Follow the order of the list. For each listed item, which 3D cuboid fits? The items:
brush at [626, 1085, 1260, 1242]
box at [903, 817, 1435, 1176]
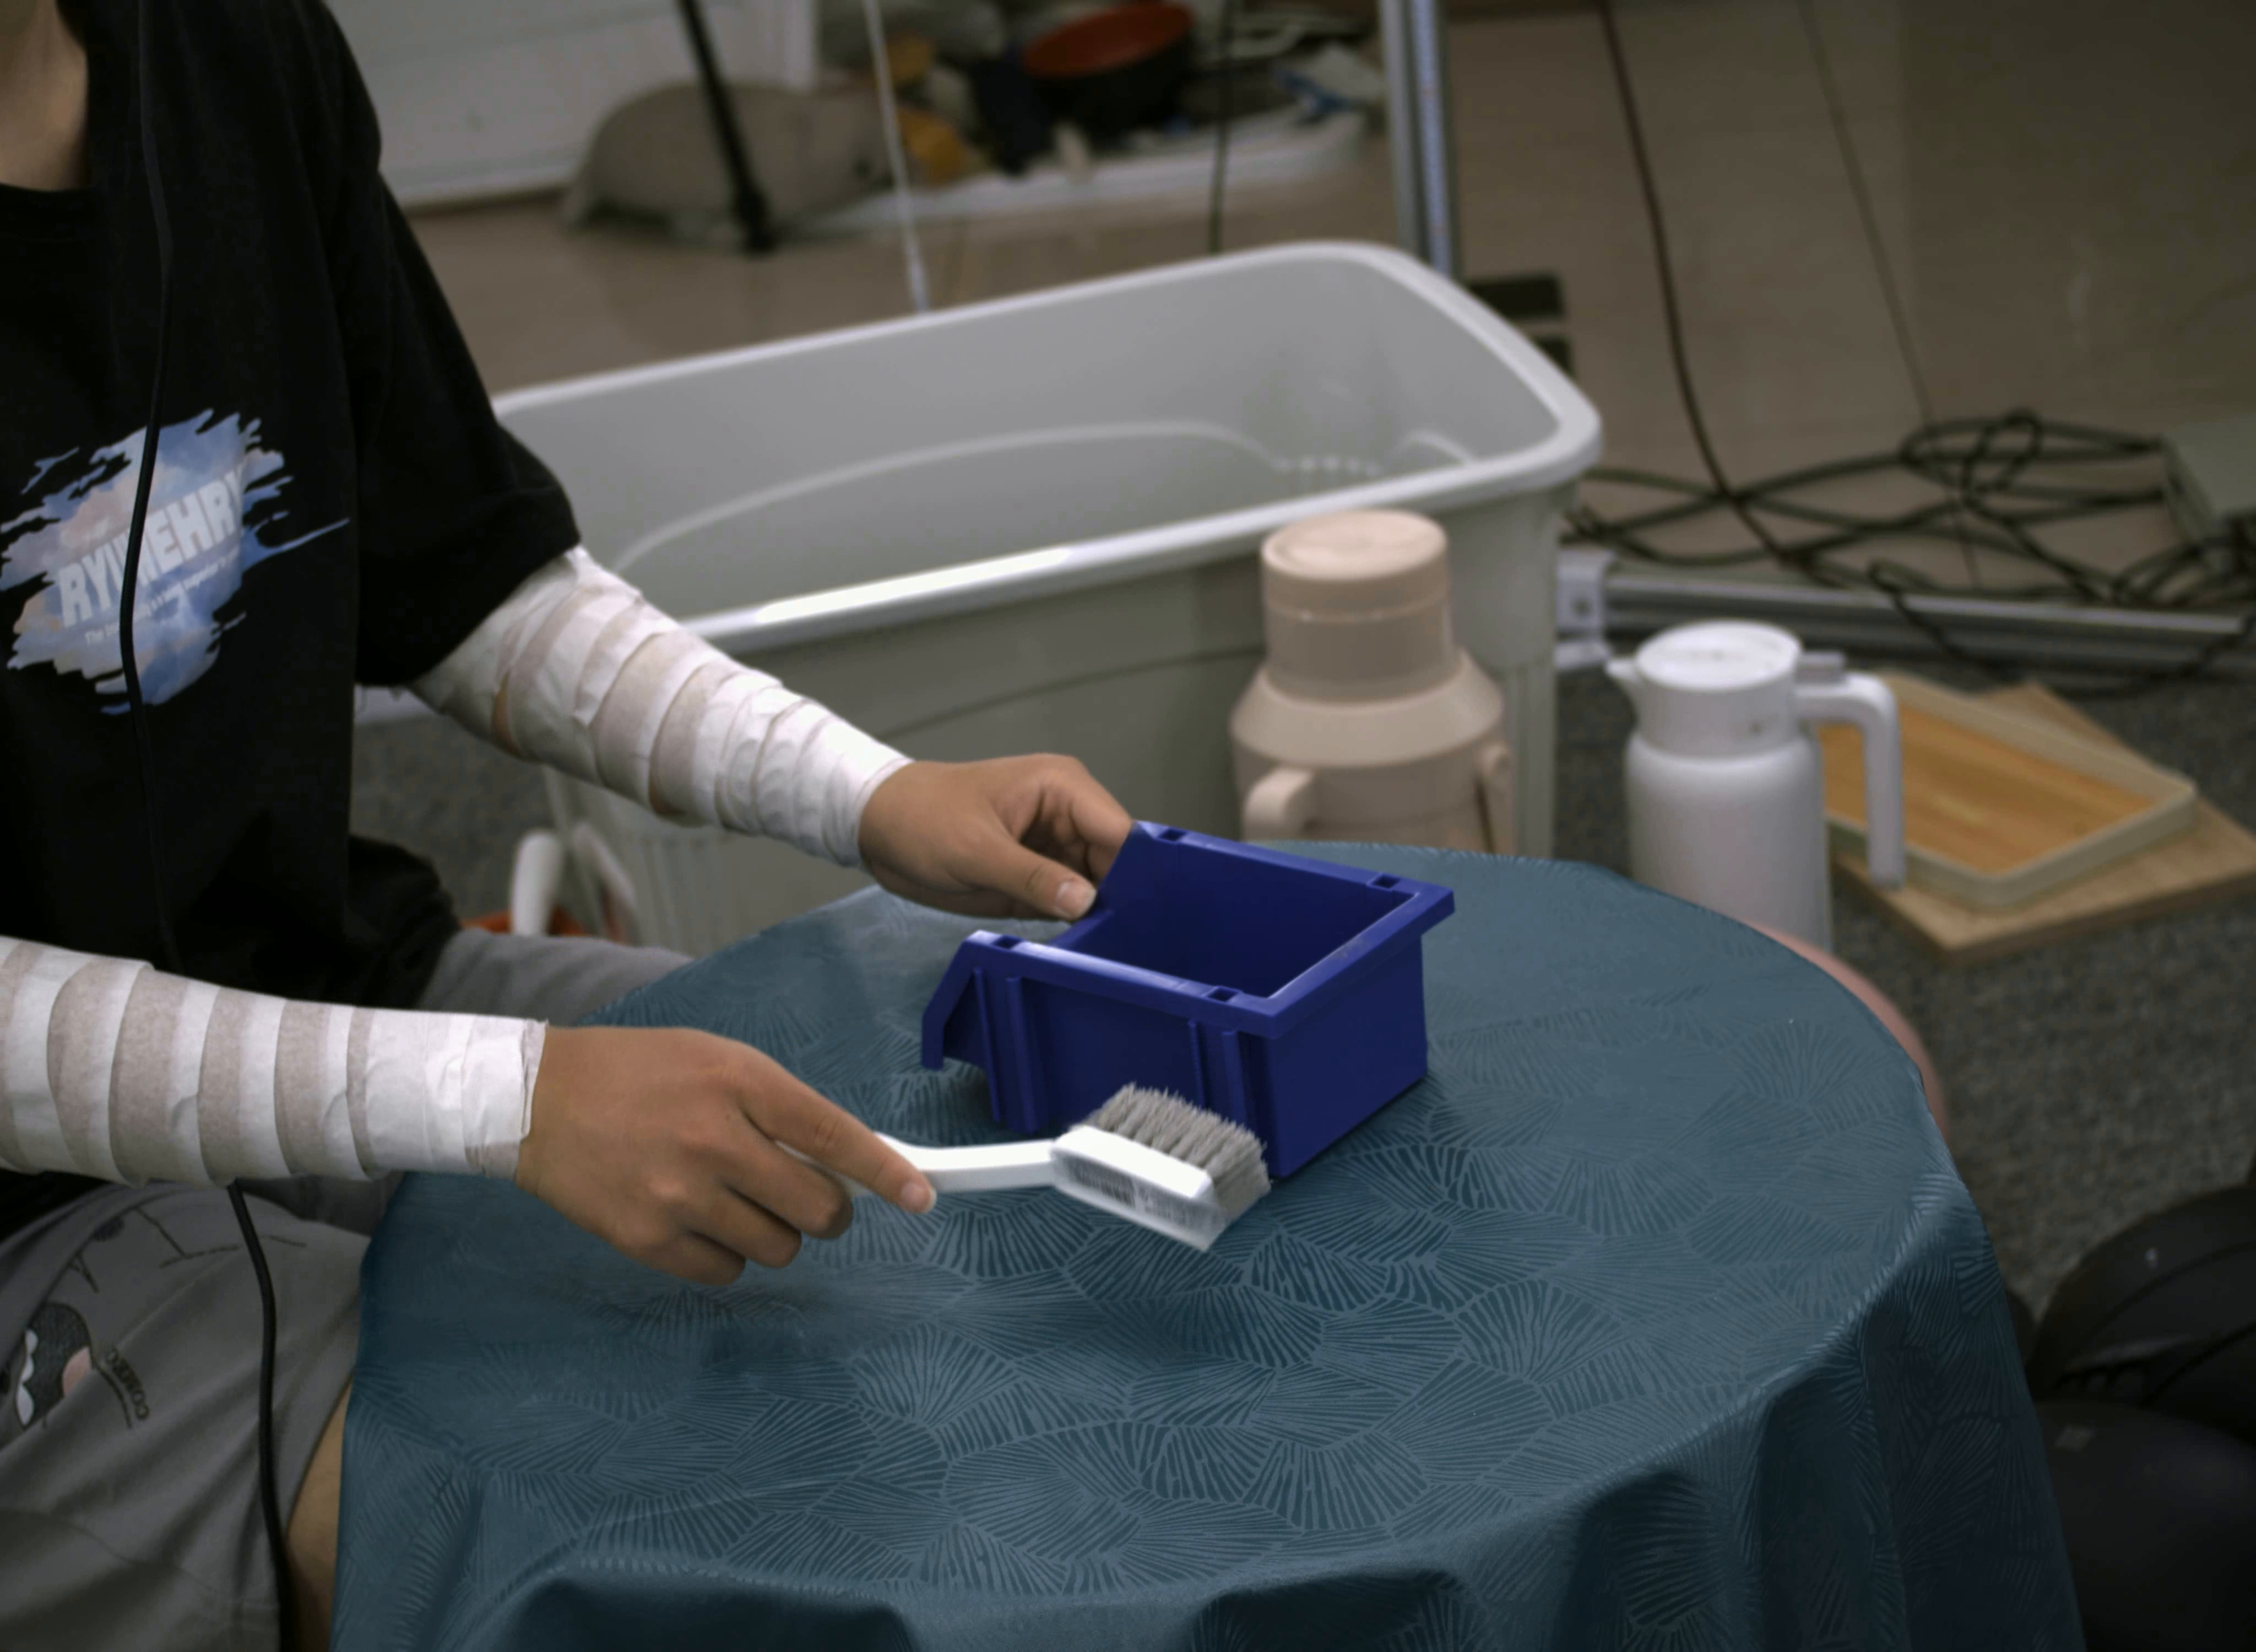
[{"bbox_3d":[-0.068,0.115,2.074,0.243,0.035,0.049,4,46,23],"label":"brush"},{"bbox_3d":[0.014,0.066,2.204,0.178,0.083,0.123,15,33,36],"label":"box"}]
